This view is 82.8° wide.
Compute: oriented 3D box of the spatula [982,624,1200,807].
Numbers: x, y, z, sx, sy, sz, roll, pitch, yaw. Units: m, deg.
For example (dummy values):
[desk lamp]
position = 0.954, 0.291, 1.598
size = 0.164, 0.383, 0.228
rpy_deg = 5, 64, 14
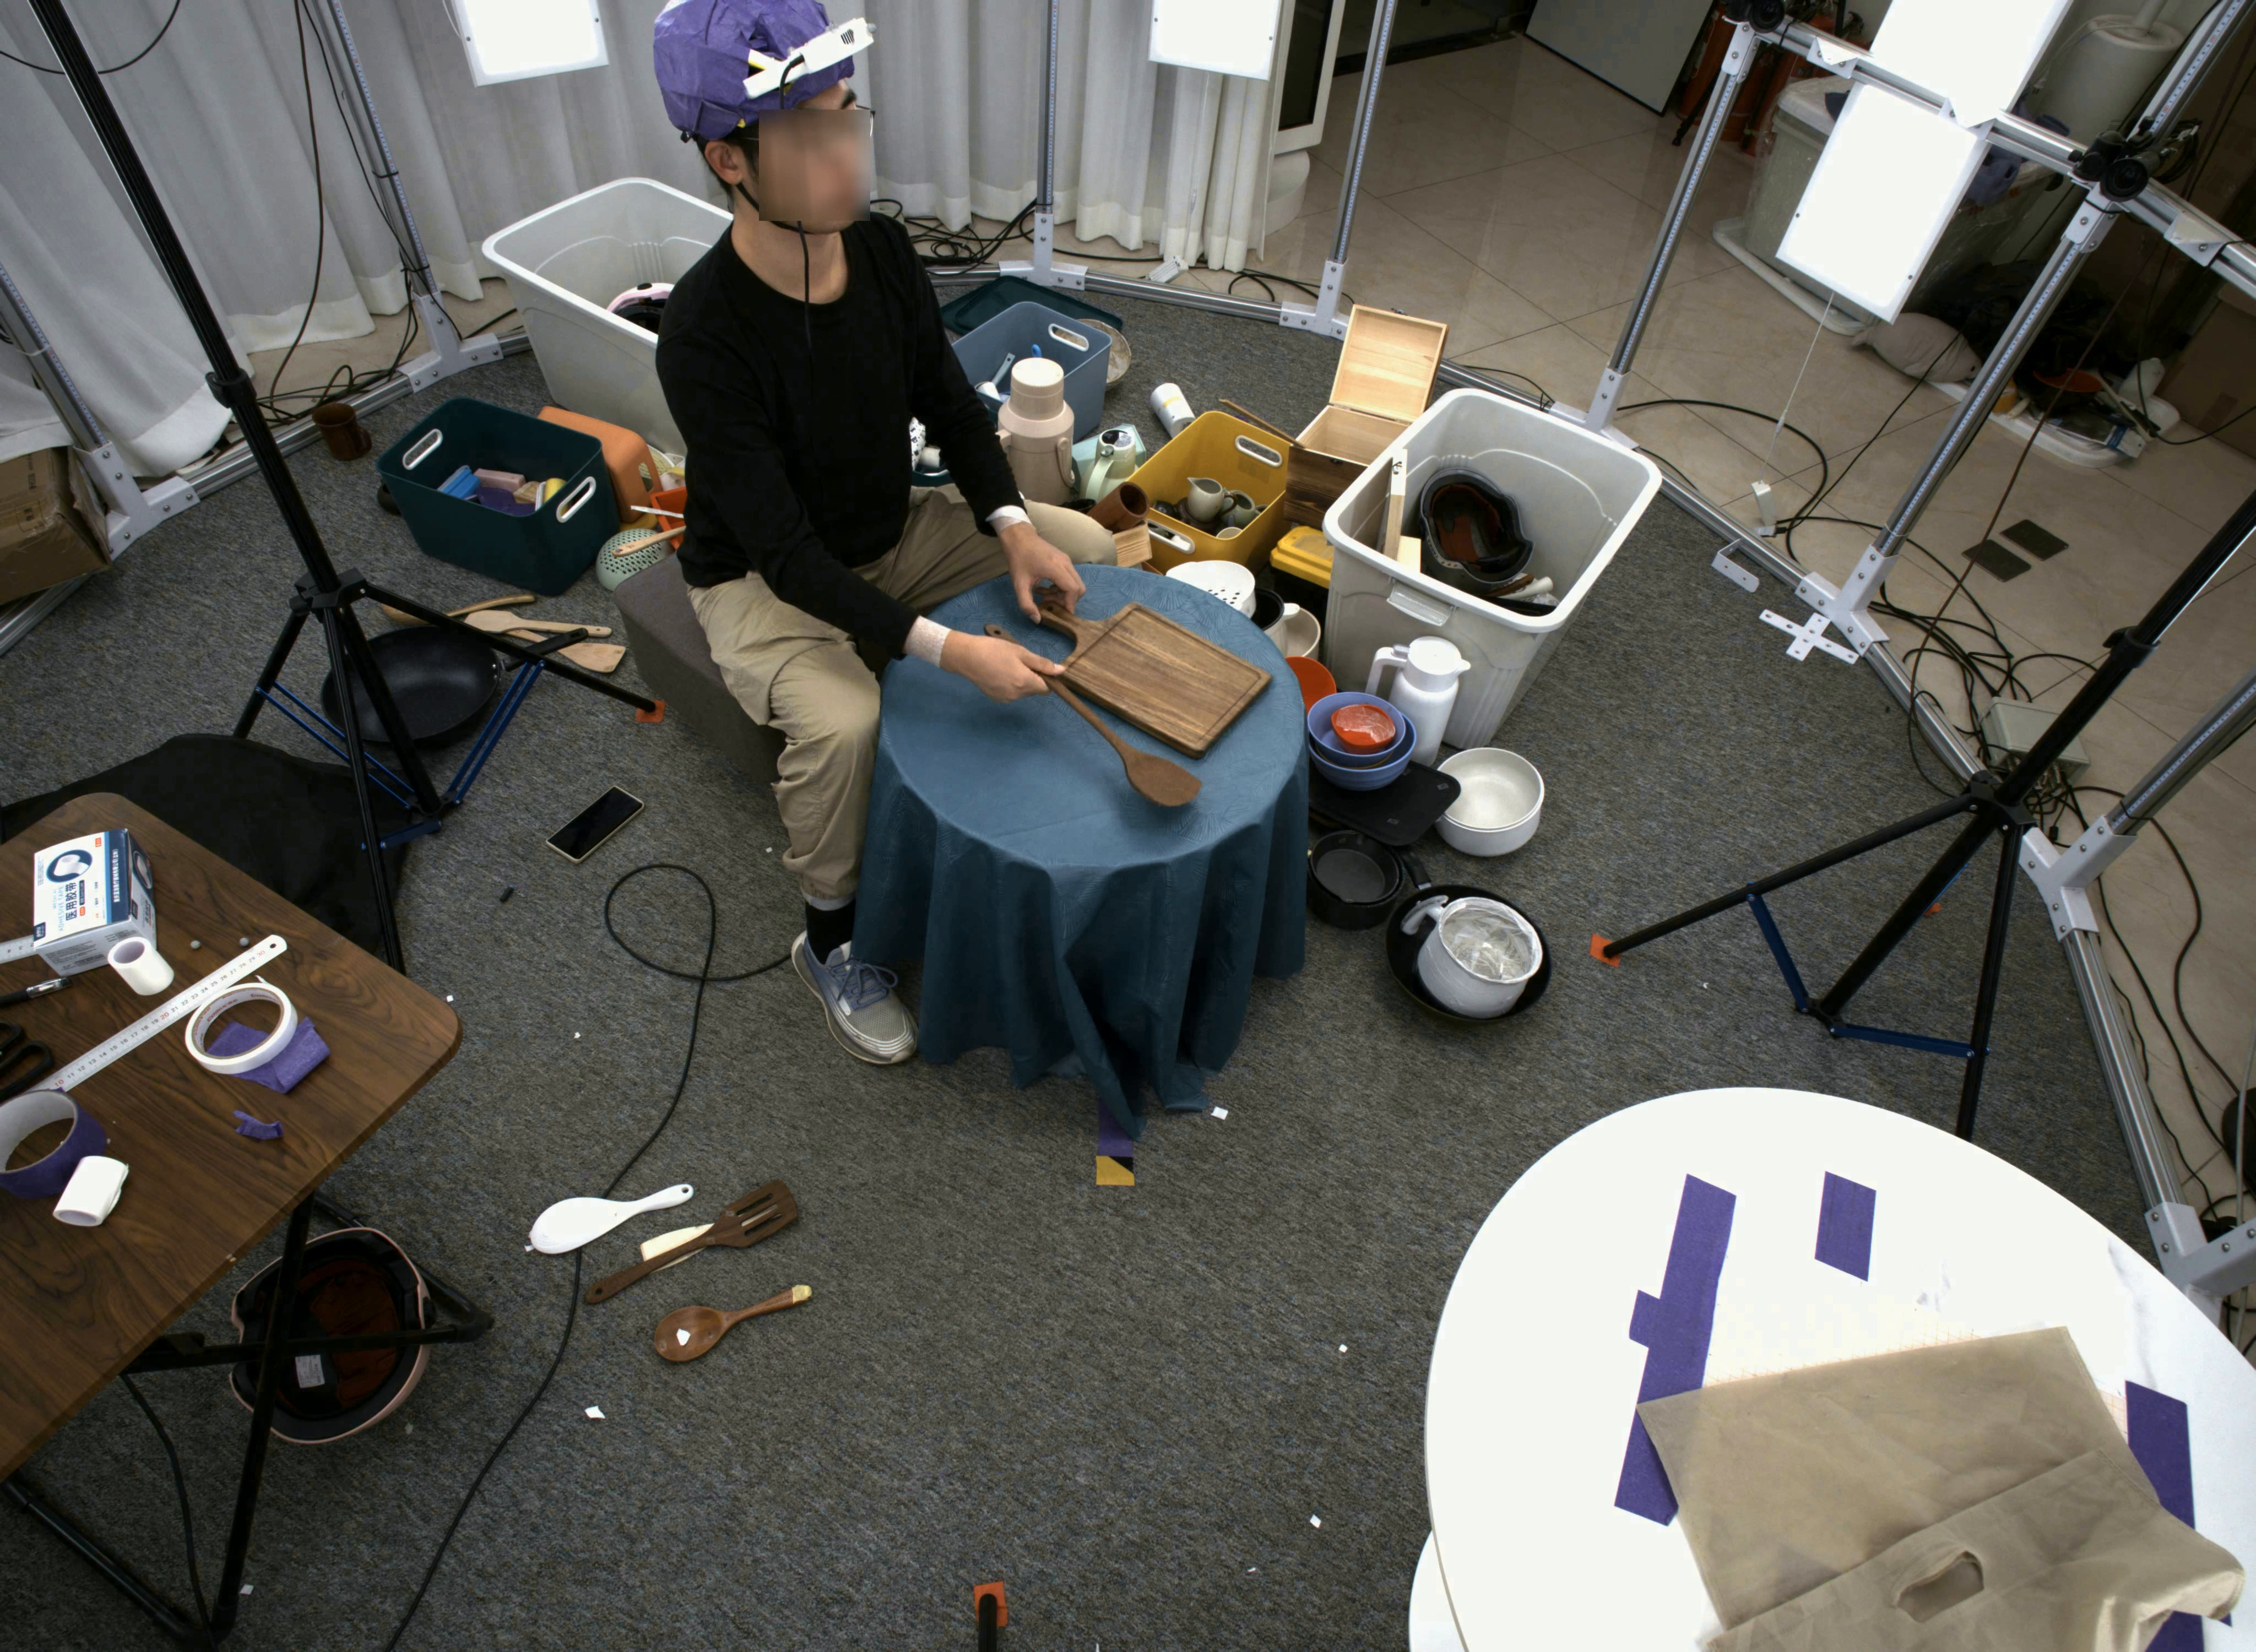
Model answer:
[spatula]
position = -0.060, -0.156, 1.714
size = 0.390, 0.015, 0.097
rpy_deg = 43, 42, 18

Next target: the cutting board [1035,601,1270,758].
[cutting board]
position = 0.011, -0.240, 1.859
size = 0.356, 0.022, 0.204
rpy_deg = 31, 53, 19
